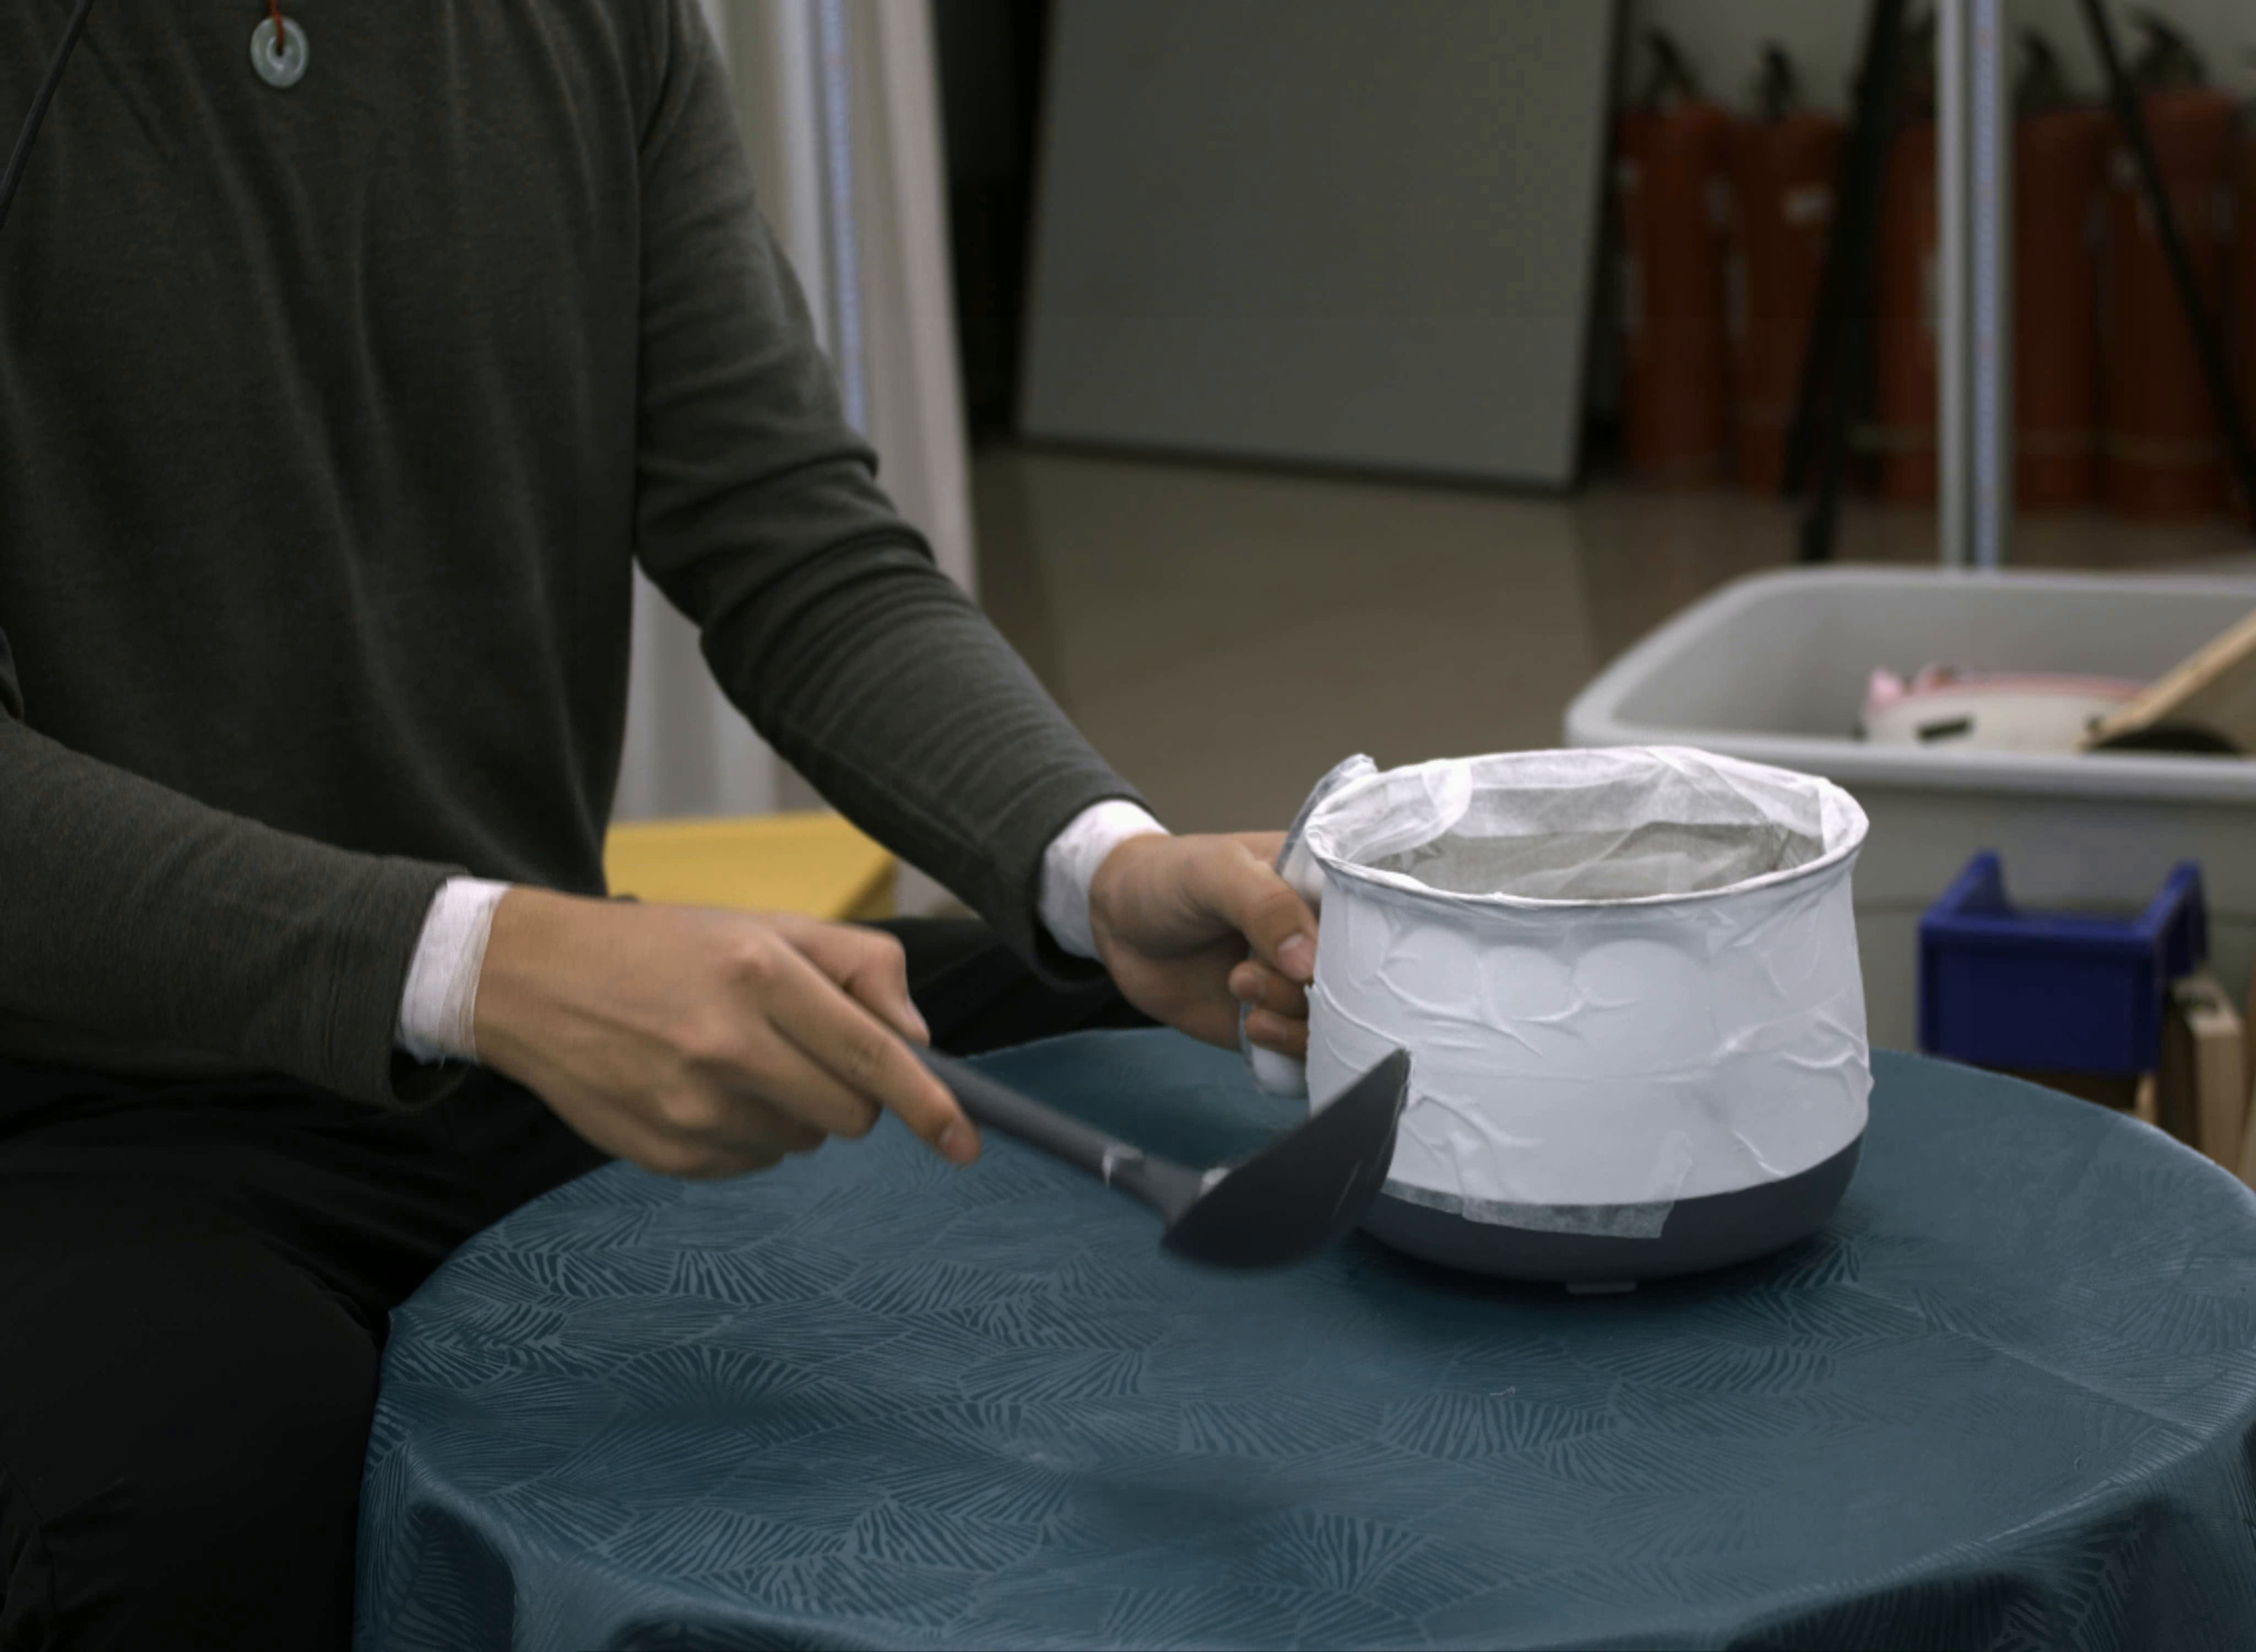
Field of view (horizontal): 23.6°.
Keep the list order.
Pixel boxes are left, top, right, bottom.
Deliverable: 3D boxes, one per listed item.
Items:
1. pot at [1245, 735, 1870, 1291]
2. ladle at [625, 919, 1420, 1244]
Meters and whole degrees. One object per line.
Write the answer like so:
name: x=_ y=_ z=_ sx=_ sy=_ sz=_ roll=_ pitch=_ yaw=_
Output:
pot: x=0.124 y=0.052 z=1.705 sx=0.175 sy=0.138 sz=0.236 roll=-15 pitch=20 yaw=-41
ladle: x=-0.044 y=0.054 z=1.569 sx=0.084 sy=0.064 sz=0.317 roll=-25 pitch=32 yaw=-38
